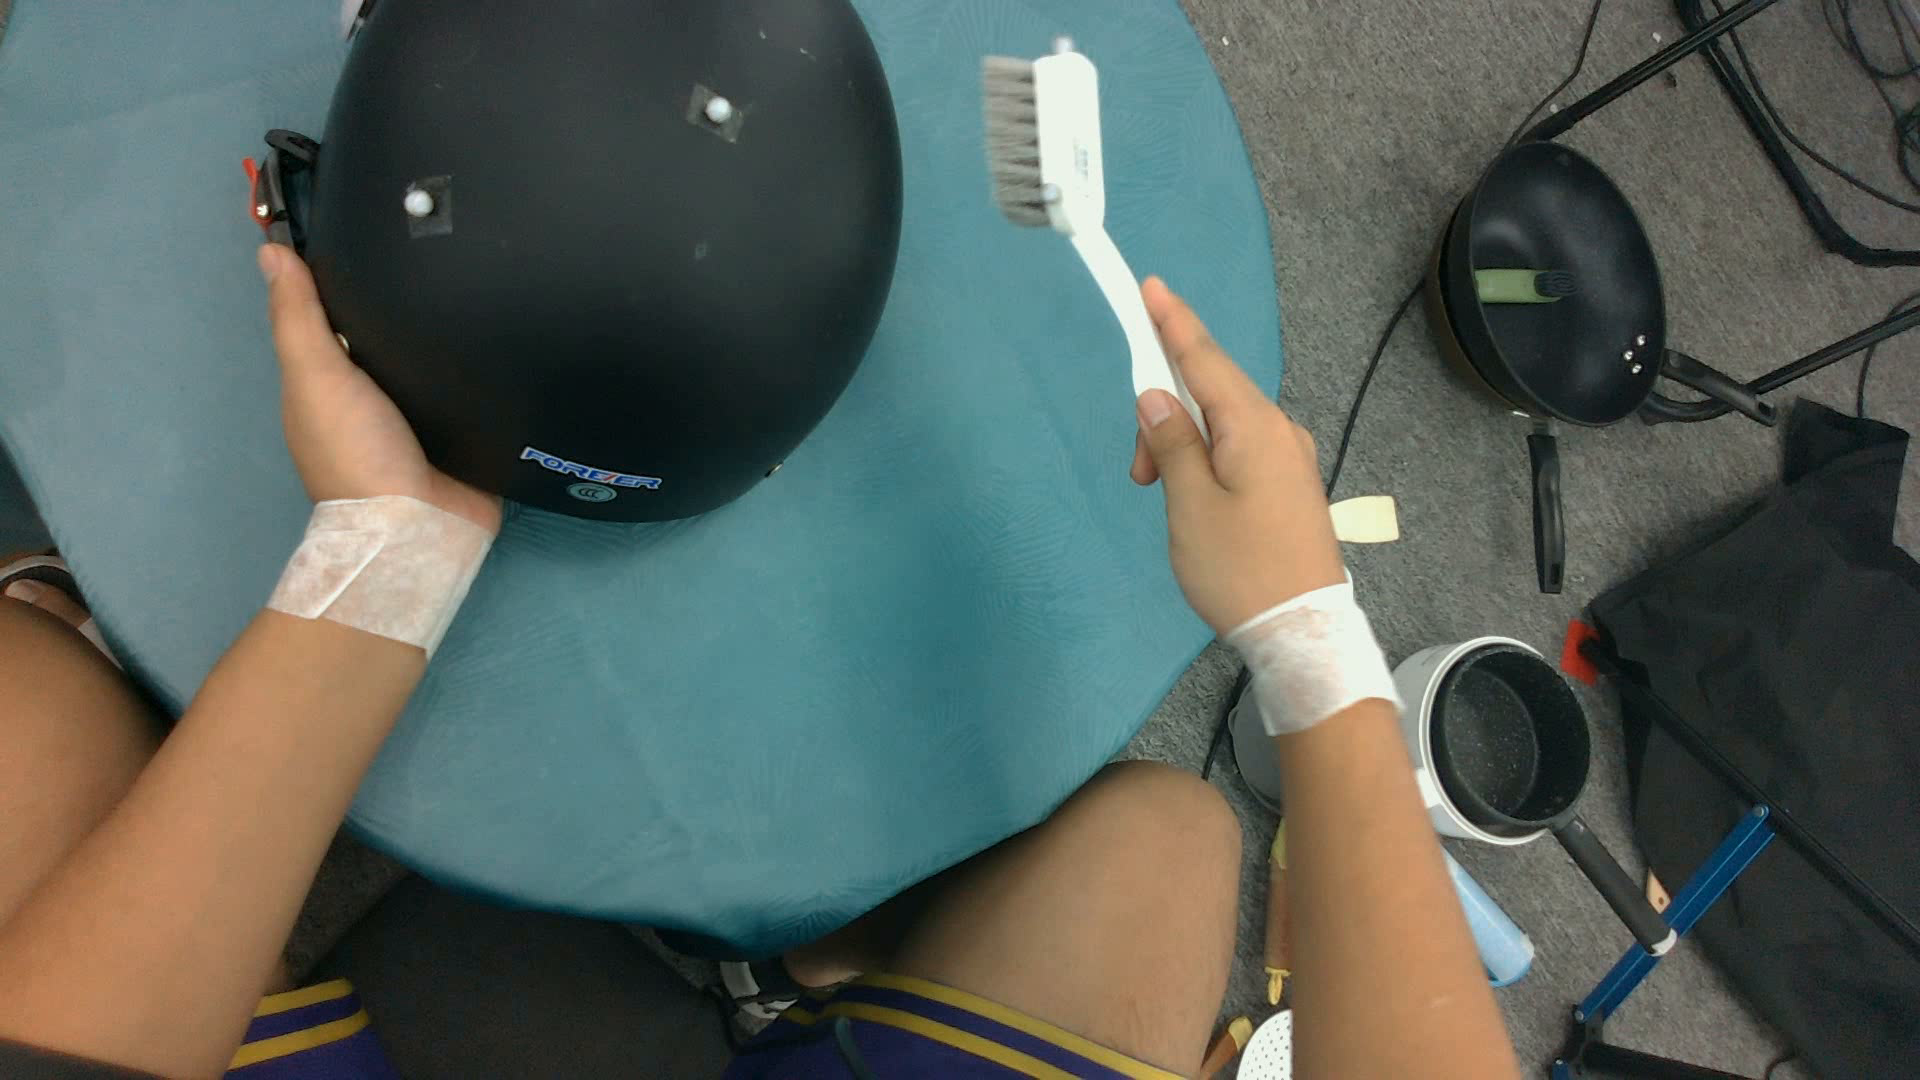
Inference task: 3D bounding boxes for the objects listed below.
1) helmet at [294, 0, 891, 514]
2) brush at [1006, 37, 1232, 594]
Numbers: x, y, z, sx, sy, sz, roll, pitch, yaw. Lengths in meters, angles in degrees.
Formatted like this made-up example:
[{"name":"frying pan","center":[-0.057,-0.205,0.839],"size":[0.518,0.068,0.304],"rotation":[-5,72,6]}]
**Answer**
[{"name":"helmet","center":[-0.127,-0.152,0.540],"size":[0.230,0.166,0.274],"rotation":[18,71,-30]},{"name":"brush","center":[0.063,-0.094,0.576],"size":[0.034,0.050,0.243],"rotation":[-14,91,-55]}]
